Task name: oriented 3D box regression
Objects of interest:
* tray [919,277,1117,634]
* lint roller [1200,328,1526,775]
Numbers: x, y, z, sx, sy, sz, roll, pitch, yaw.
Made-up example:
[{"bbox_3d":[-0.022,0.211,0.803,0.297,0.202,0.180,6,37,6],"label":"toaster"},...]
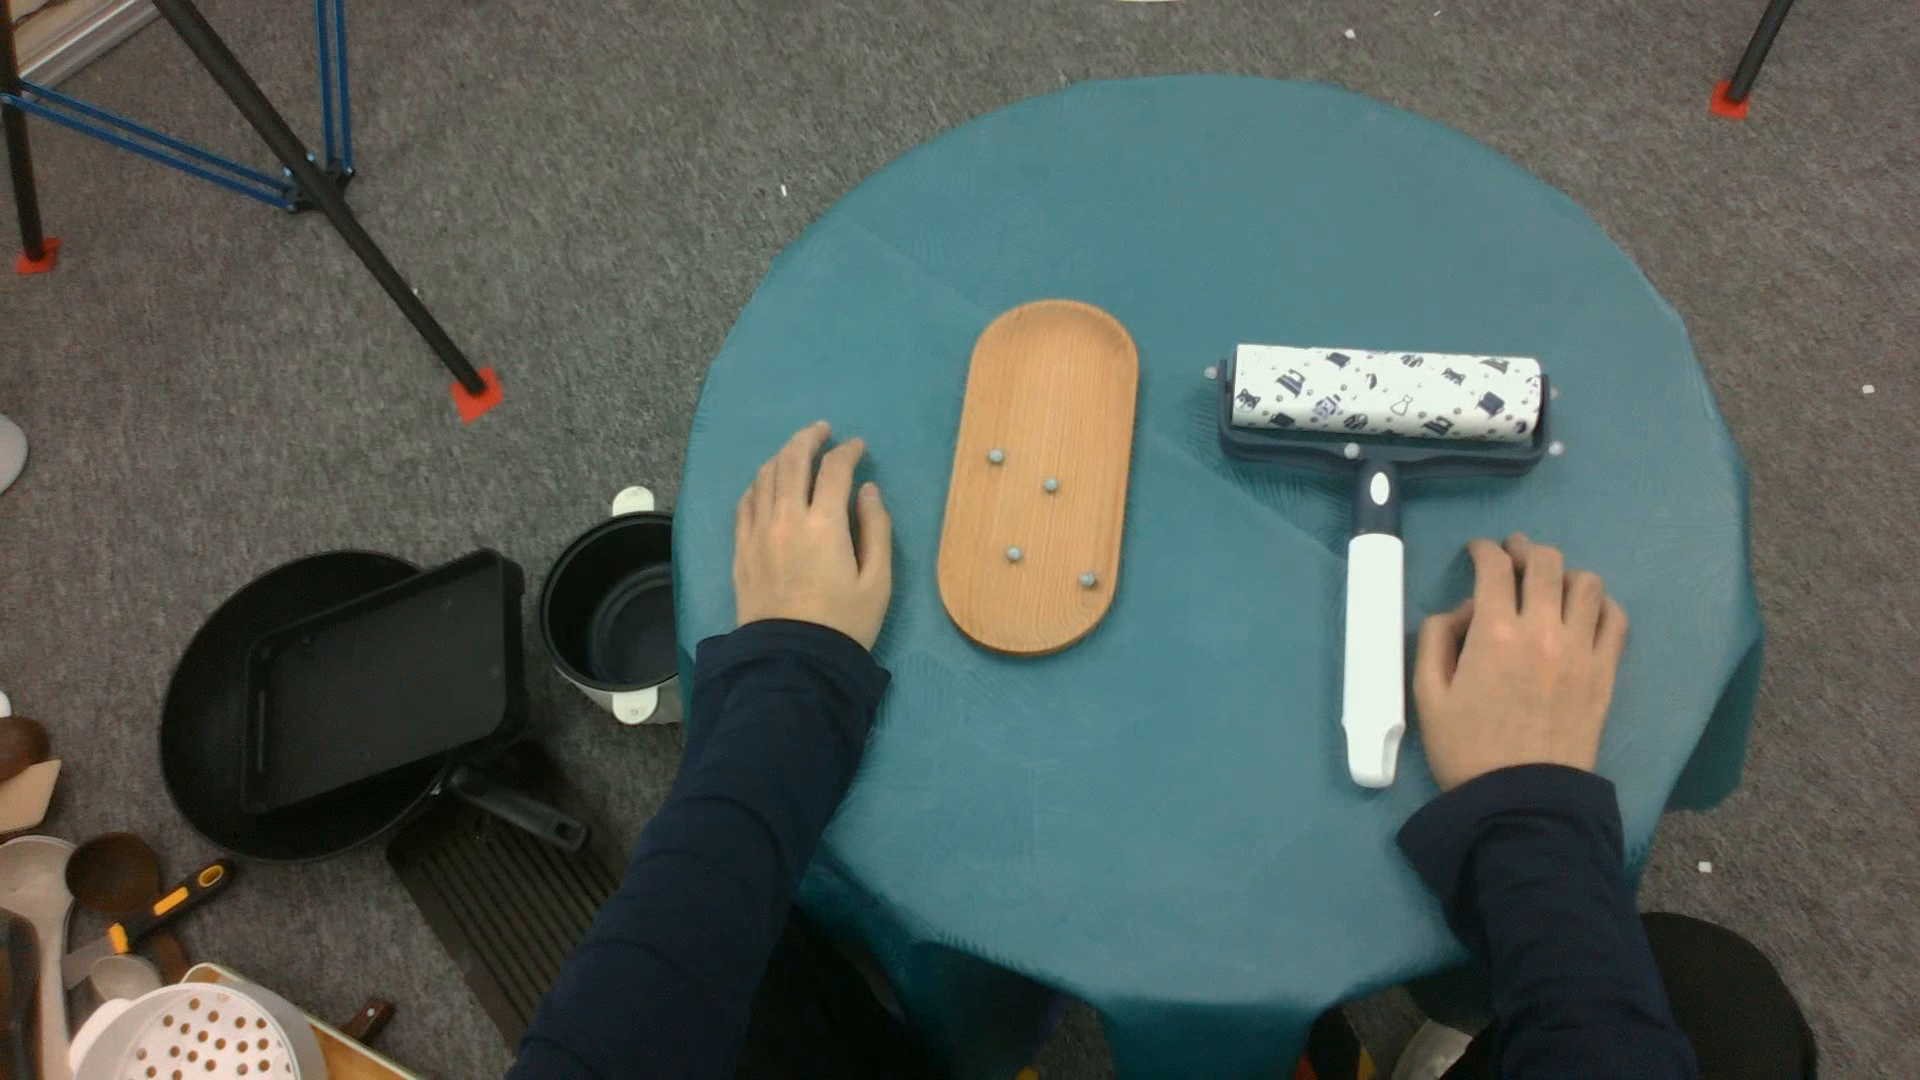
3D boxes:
[{"bbox_3d":[0.035,-0.053,0.794,0.101,0.020,0.232,5,64,6],"label":"tray"},{"bbox_3d":[0.214,0.001,0.737,0.176,0.050,0.248,4,68,7],"label":"lint roller"}]
